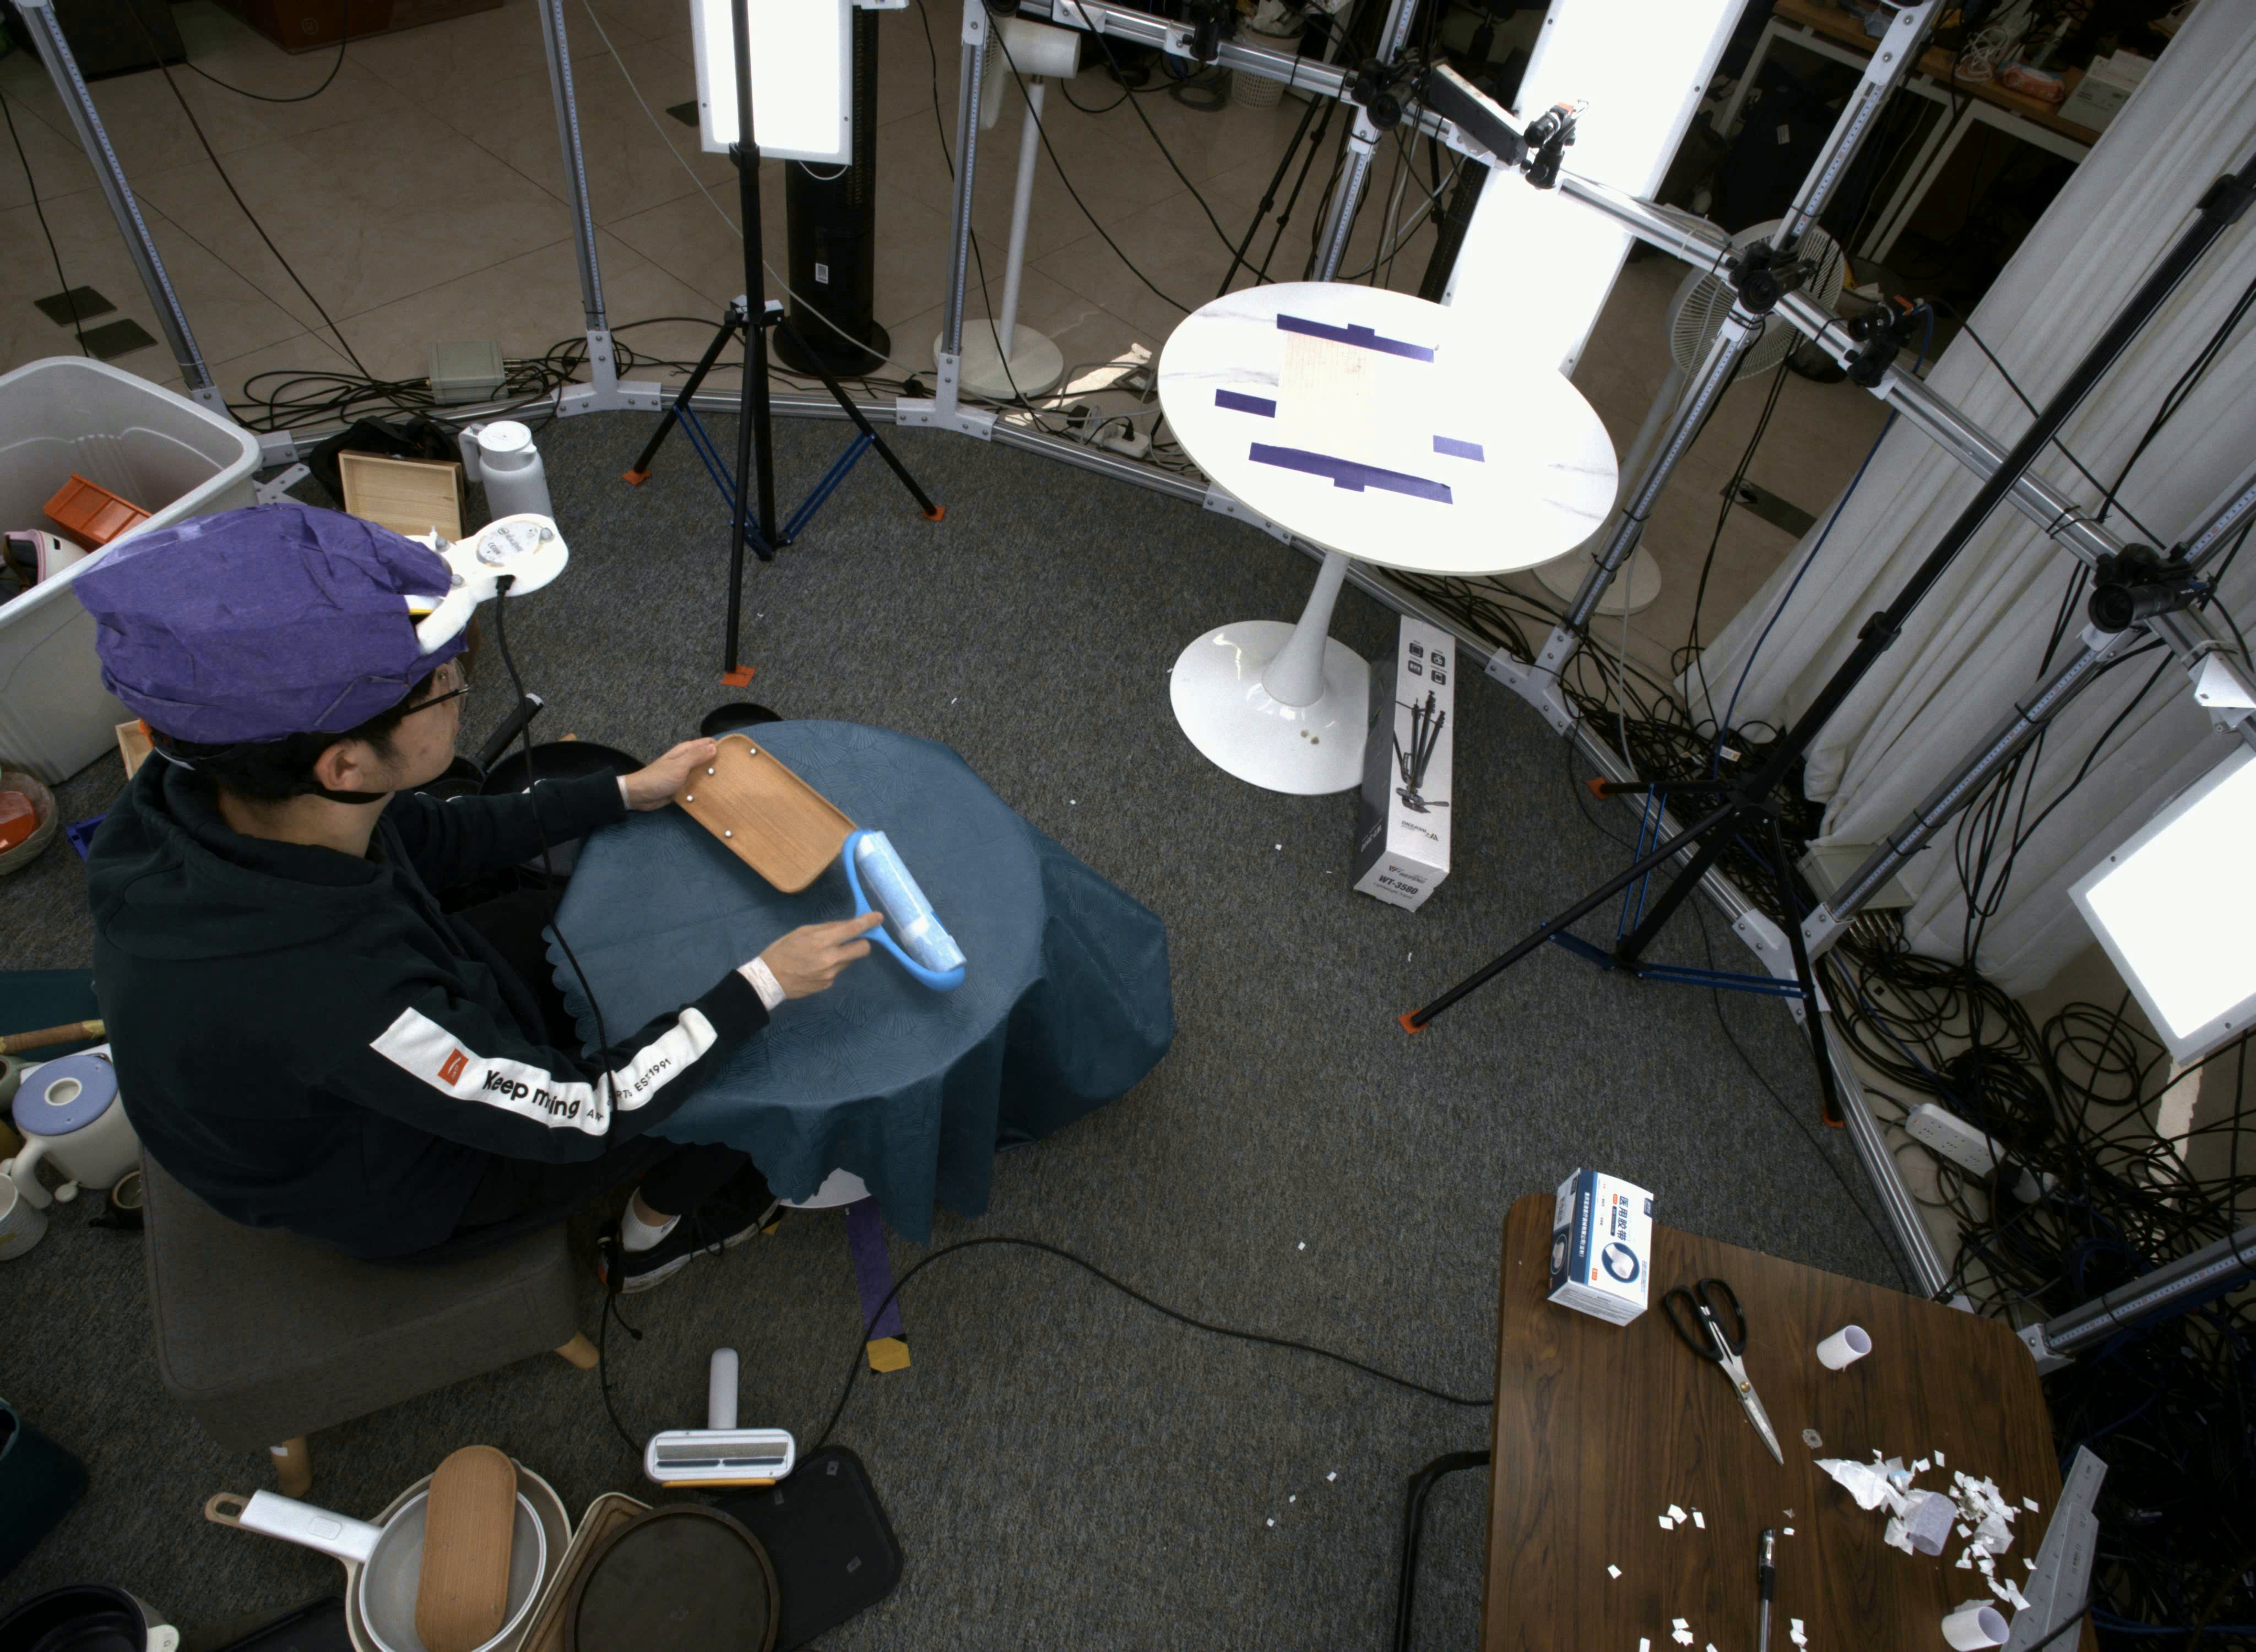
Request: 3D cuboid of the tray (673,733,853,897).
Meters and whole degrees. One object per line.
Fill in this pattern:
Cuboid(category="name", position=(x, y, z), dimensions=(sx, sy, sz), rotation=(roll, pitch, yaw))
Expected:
Cuboid(category="tray", position=(-0.469, -0.017, 1.658), dimensions=(0.245, 0.023, 0.130), rotation=(38, 74, 17))

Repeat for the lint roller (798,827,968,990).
Cuboid(category="lint roller", position=(-0.314, 0.127, 1.561), dimensions=(0.180, 0.068, 0.228), rotation=(-34, 86, -27))
